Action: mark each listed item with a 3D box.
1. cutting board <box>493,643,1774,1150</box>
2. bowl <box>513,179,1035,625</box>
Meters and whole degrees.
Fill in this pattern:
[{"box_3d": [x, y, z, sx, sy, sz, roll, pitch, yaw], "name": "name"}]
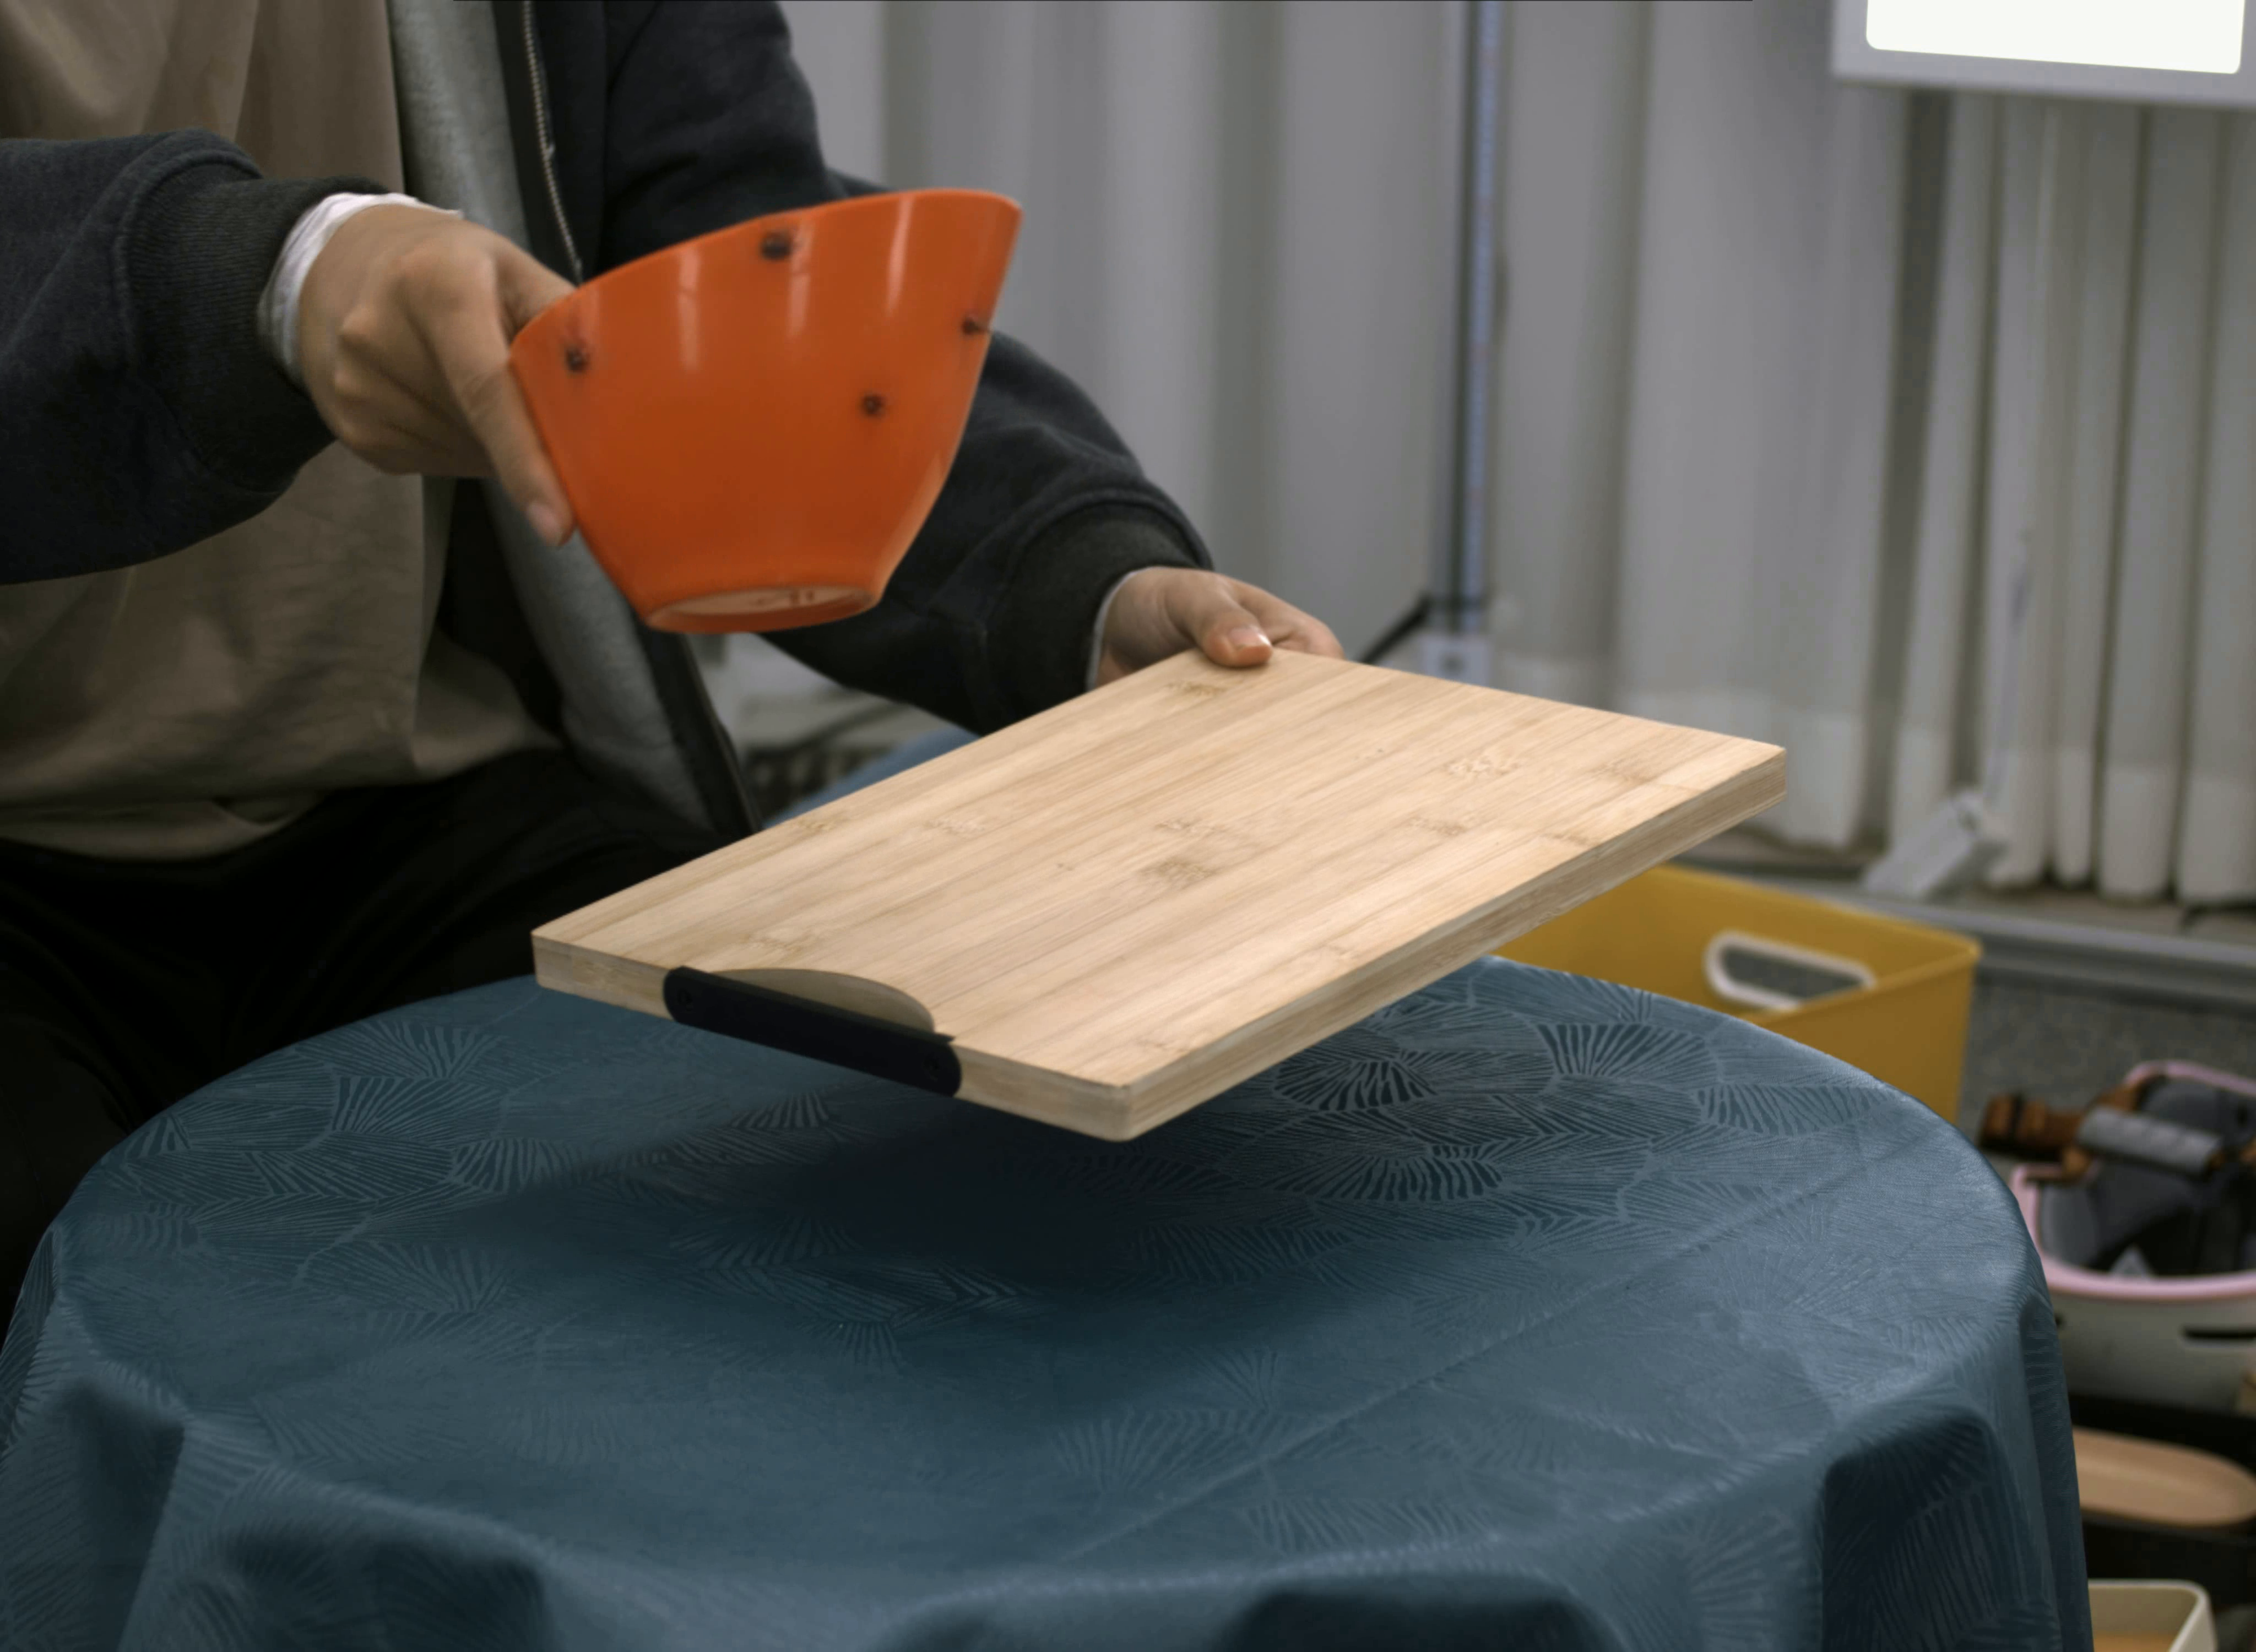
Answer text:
[{"box_3d": [0.010, 0.014, 1.658, 0.247, 0.024, 0.350, 12, 24, 37], "name": "cutting board"}, {"box_3d": [-0.094, -0.113, 1.454, 0.147, 0.104, 0.148, -6, -7, 0], "name": "bowl"}]
